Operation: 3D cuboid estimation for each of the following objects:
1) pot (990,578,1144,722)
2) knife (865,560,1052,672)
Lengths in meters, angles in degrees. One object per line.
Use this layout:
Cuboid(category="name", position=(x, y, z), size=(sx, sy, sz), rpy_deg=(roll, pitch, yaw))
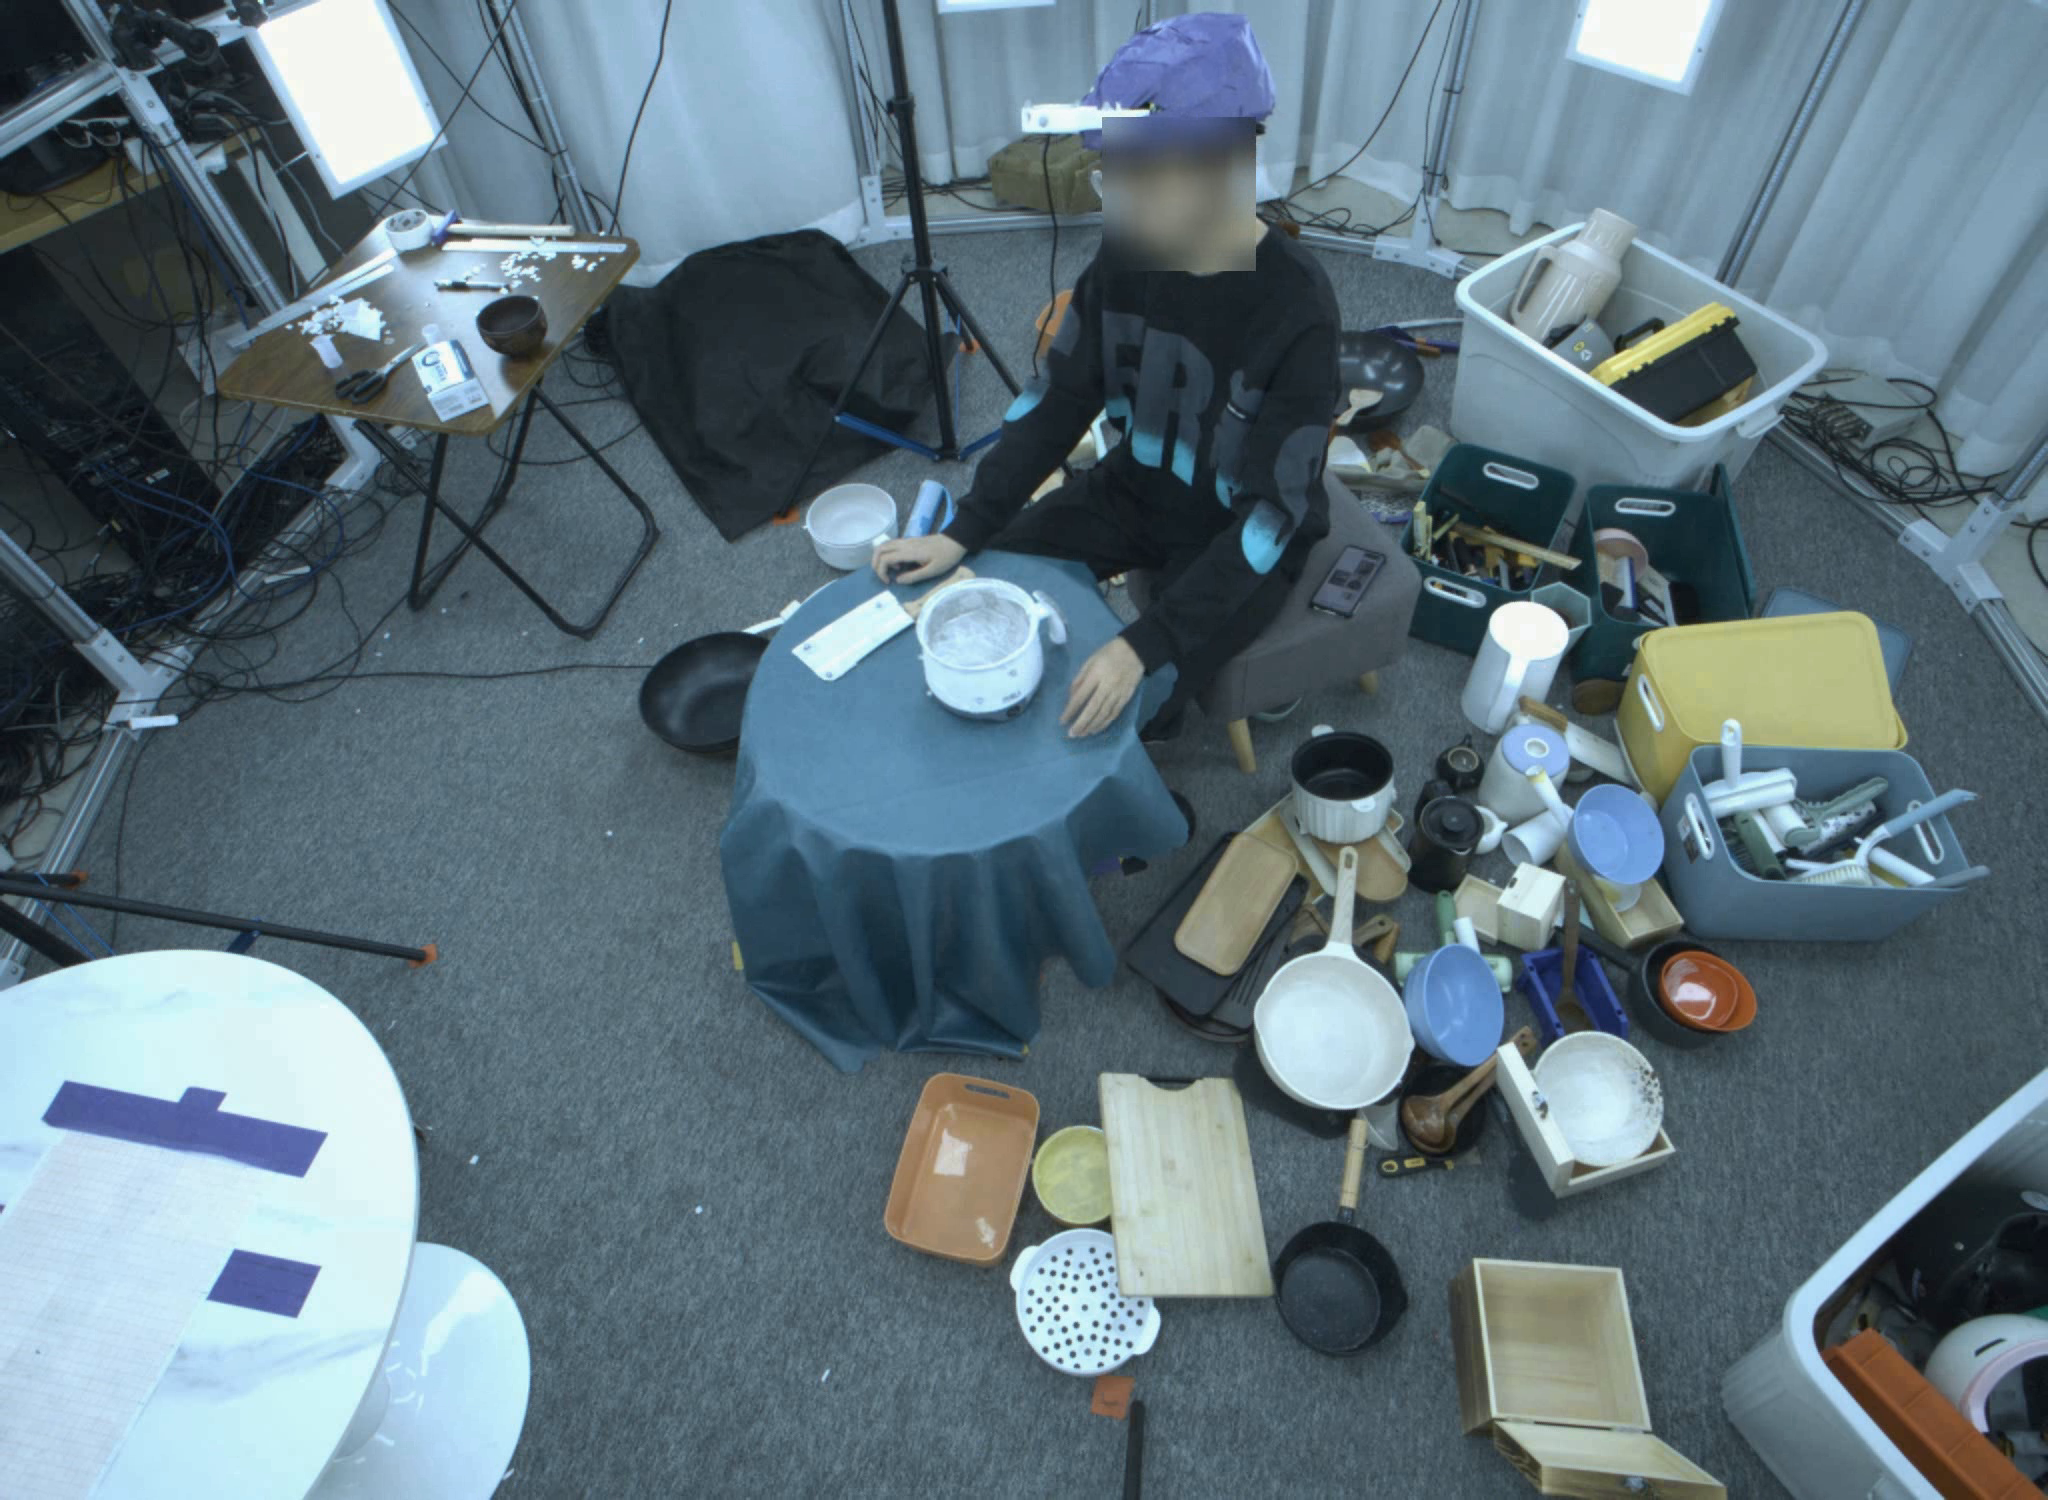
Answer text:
Cuboid(category="pot", position=(0.069, -0.156, 1.810), size=(0.235, 0.138, 0.175), rpy_deg=(-25, 58, -13))
Cuboid(category="knife", position=(-0.096, -0.218, 1.934), size=(0.317, 0.022, 0.112), rpy_deg=(-29, 58, -14))
